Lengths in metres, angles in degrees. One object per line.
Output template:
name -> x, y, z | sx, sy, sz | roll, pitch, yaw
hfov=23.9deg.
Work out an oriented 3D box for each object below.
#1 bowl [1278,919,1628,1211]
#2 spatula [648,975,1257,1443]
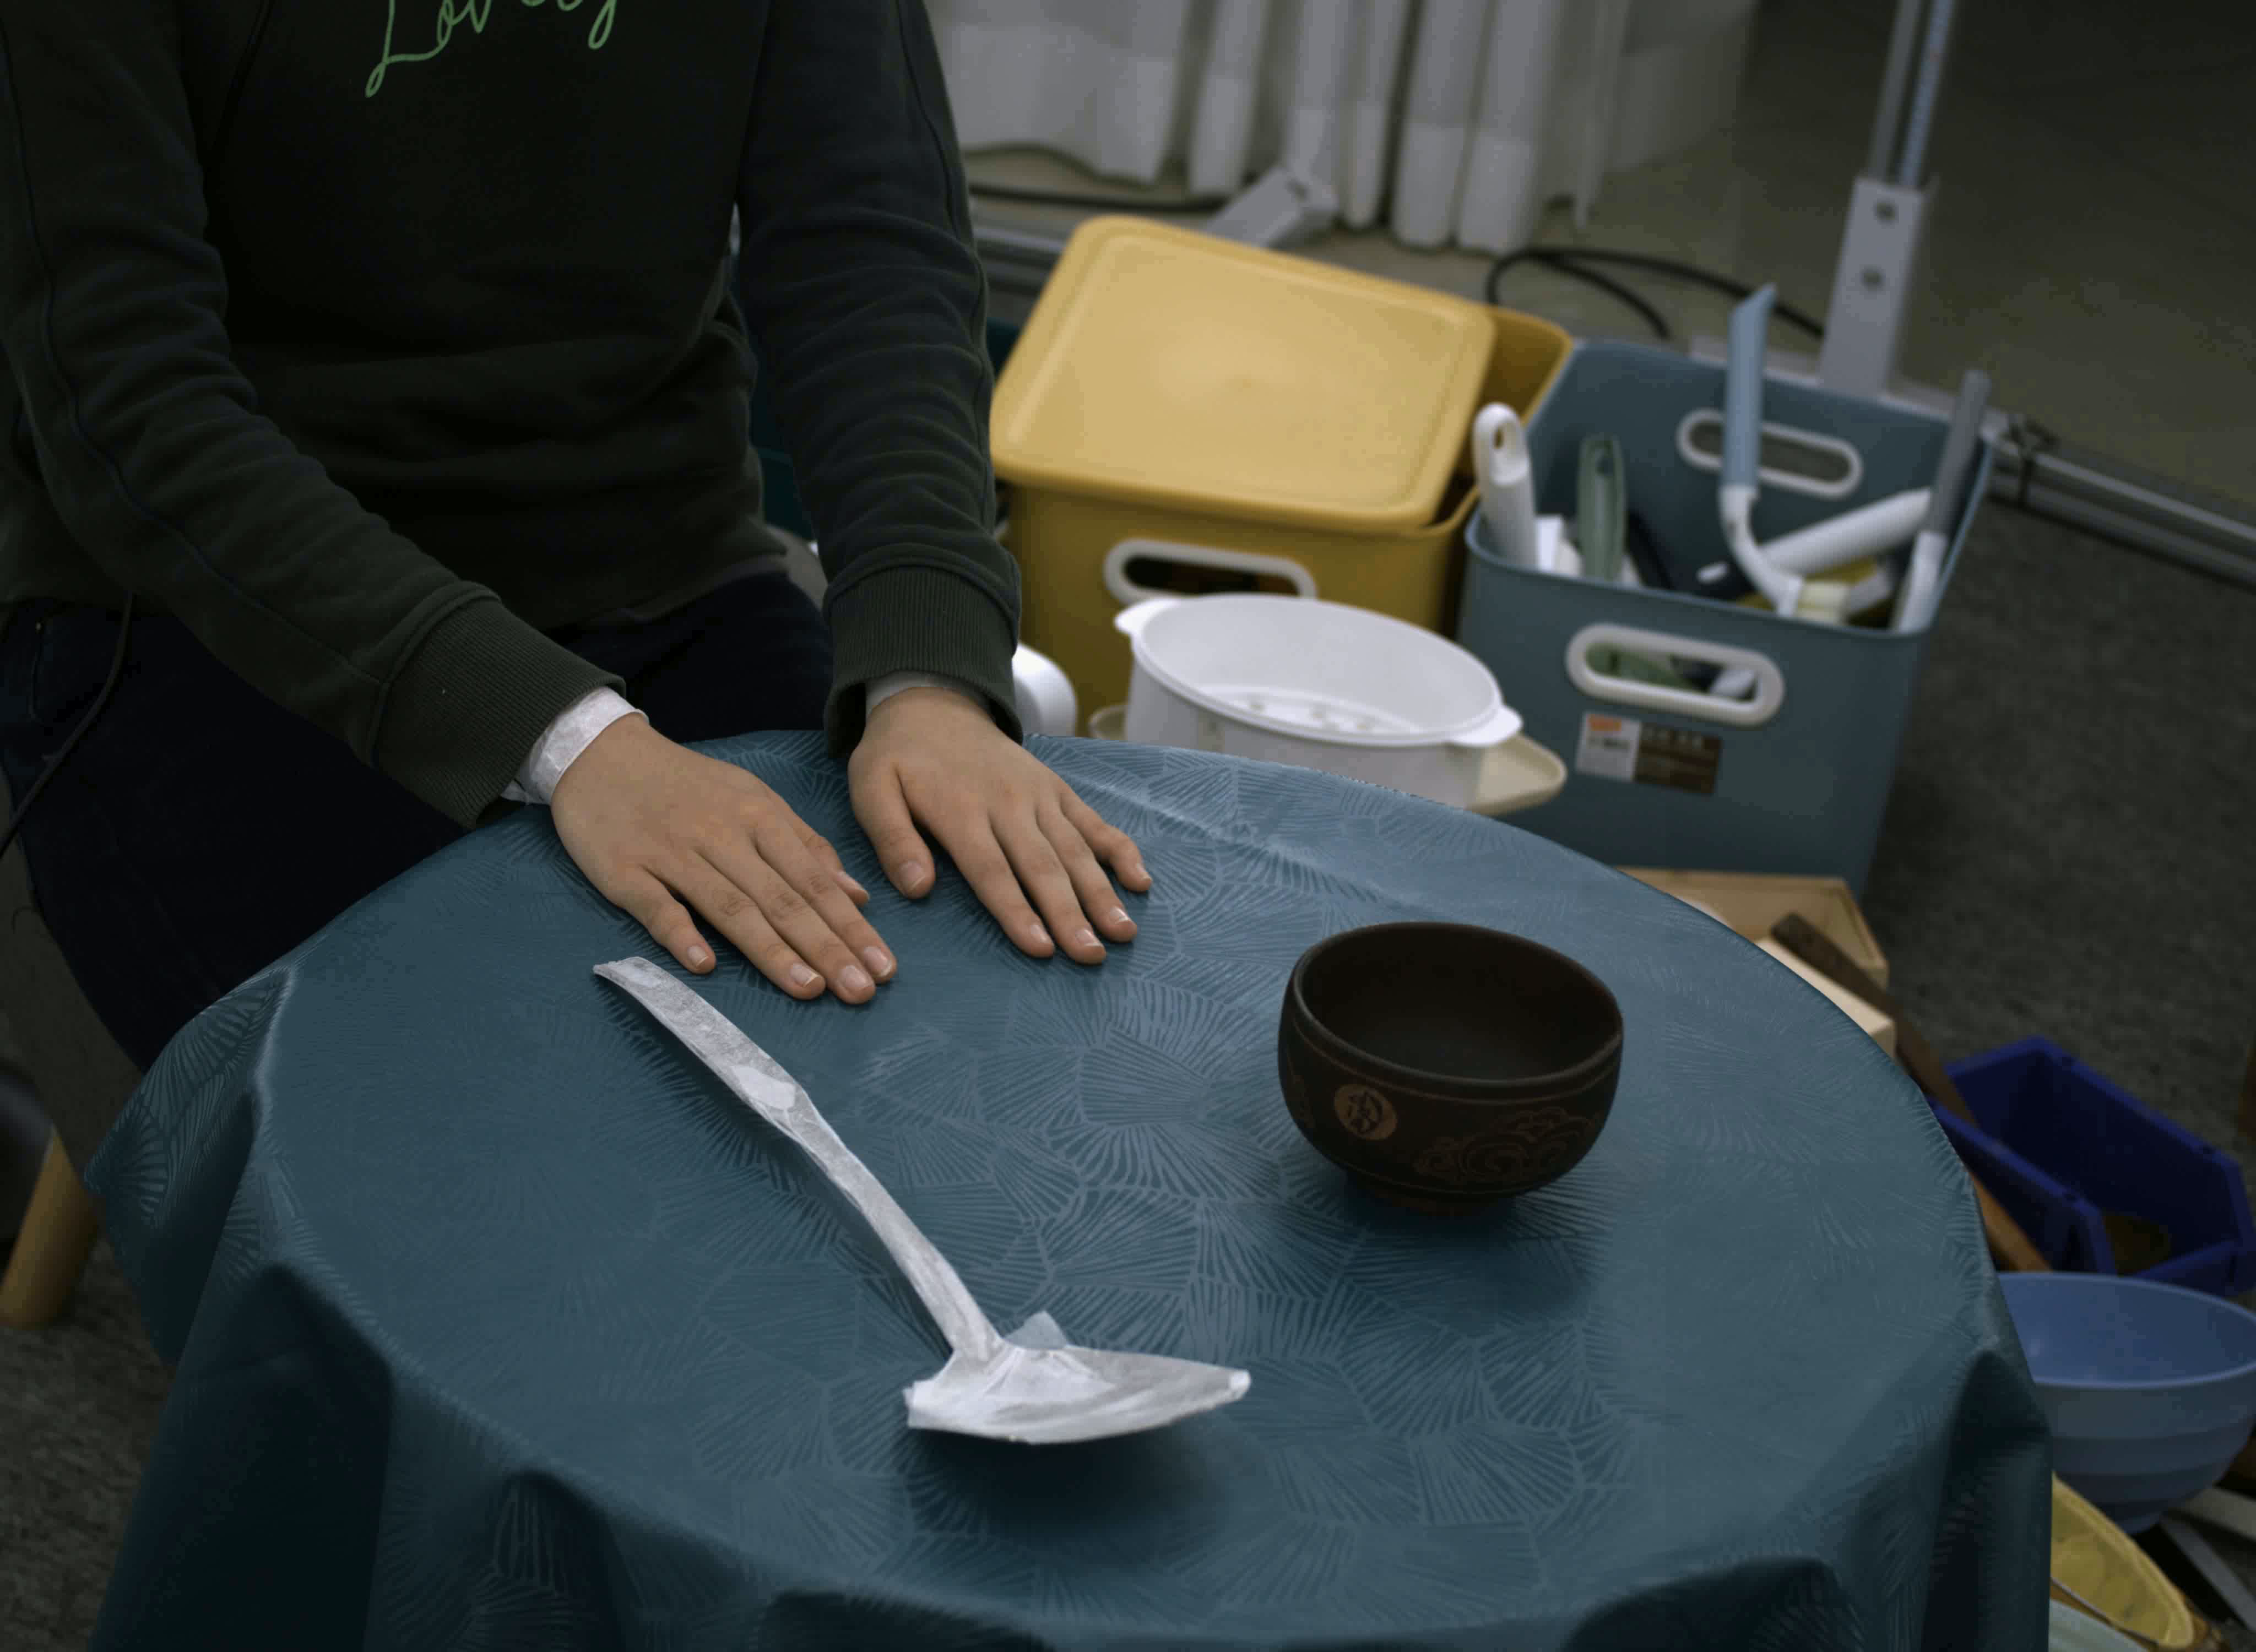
bowl -> 0.108, 0.088, 1.816 | 0.117, 0.069, 0.119 | 6, 25, -3
spatula -> -0.082, 0.118, 1.751 | 0.098, 0.044, 0.368 | -11, 31, -27
